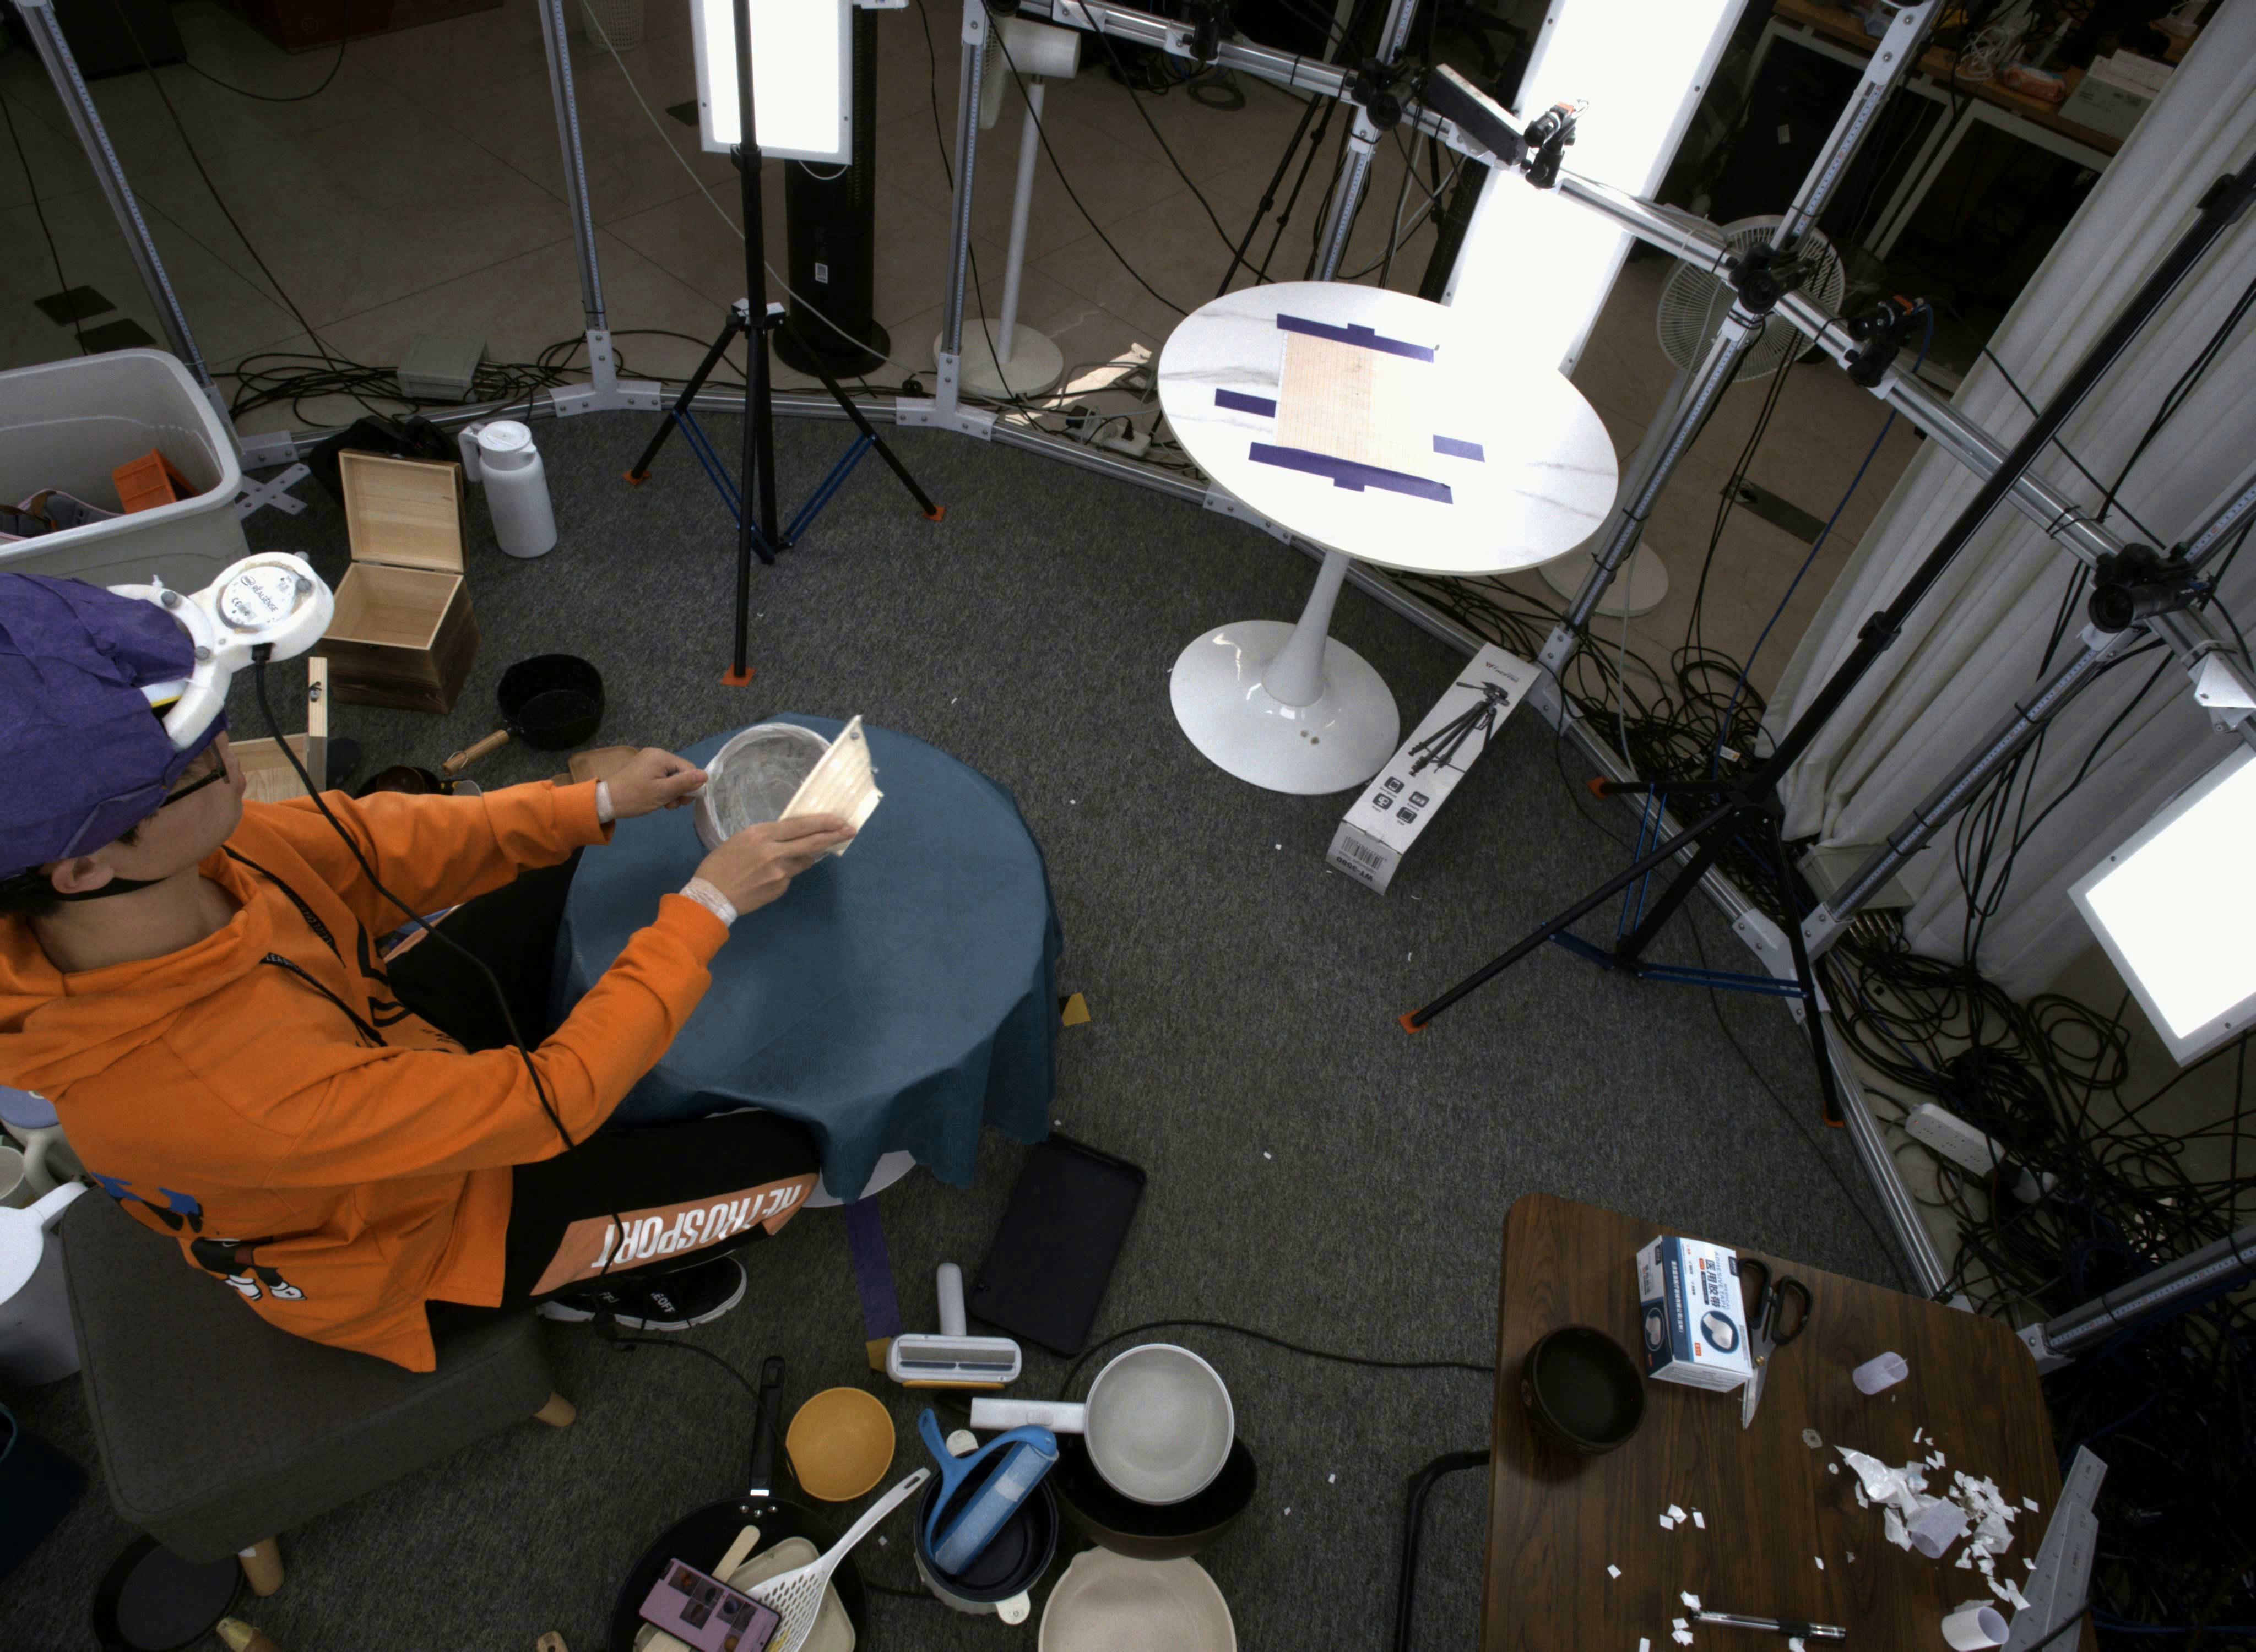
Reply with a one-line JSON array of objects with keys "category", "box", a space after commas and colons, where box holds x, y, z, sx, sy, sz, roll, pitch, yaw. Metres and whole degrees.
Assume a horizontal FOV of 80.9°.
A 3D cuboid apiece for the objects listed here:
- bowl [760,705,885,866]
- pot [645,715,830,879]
[{"category": "bowl", "box": [-0.327, -0.028, 1.452, 0.079, 0.204, 0.202, 31, 49, -11]}, {"category": "pot", "box": [-0.460, -0.034, 1.558, 0.237, 0.134, 0.179, 7, 78, -27]}]
